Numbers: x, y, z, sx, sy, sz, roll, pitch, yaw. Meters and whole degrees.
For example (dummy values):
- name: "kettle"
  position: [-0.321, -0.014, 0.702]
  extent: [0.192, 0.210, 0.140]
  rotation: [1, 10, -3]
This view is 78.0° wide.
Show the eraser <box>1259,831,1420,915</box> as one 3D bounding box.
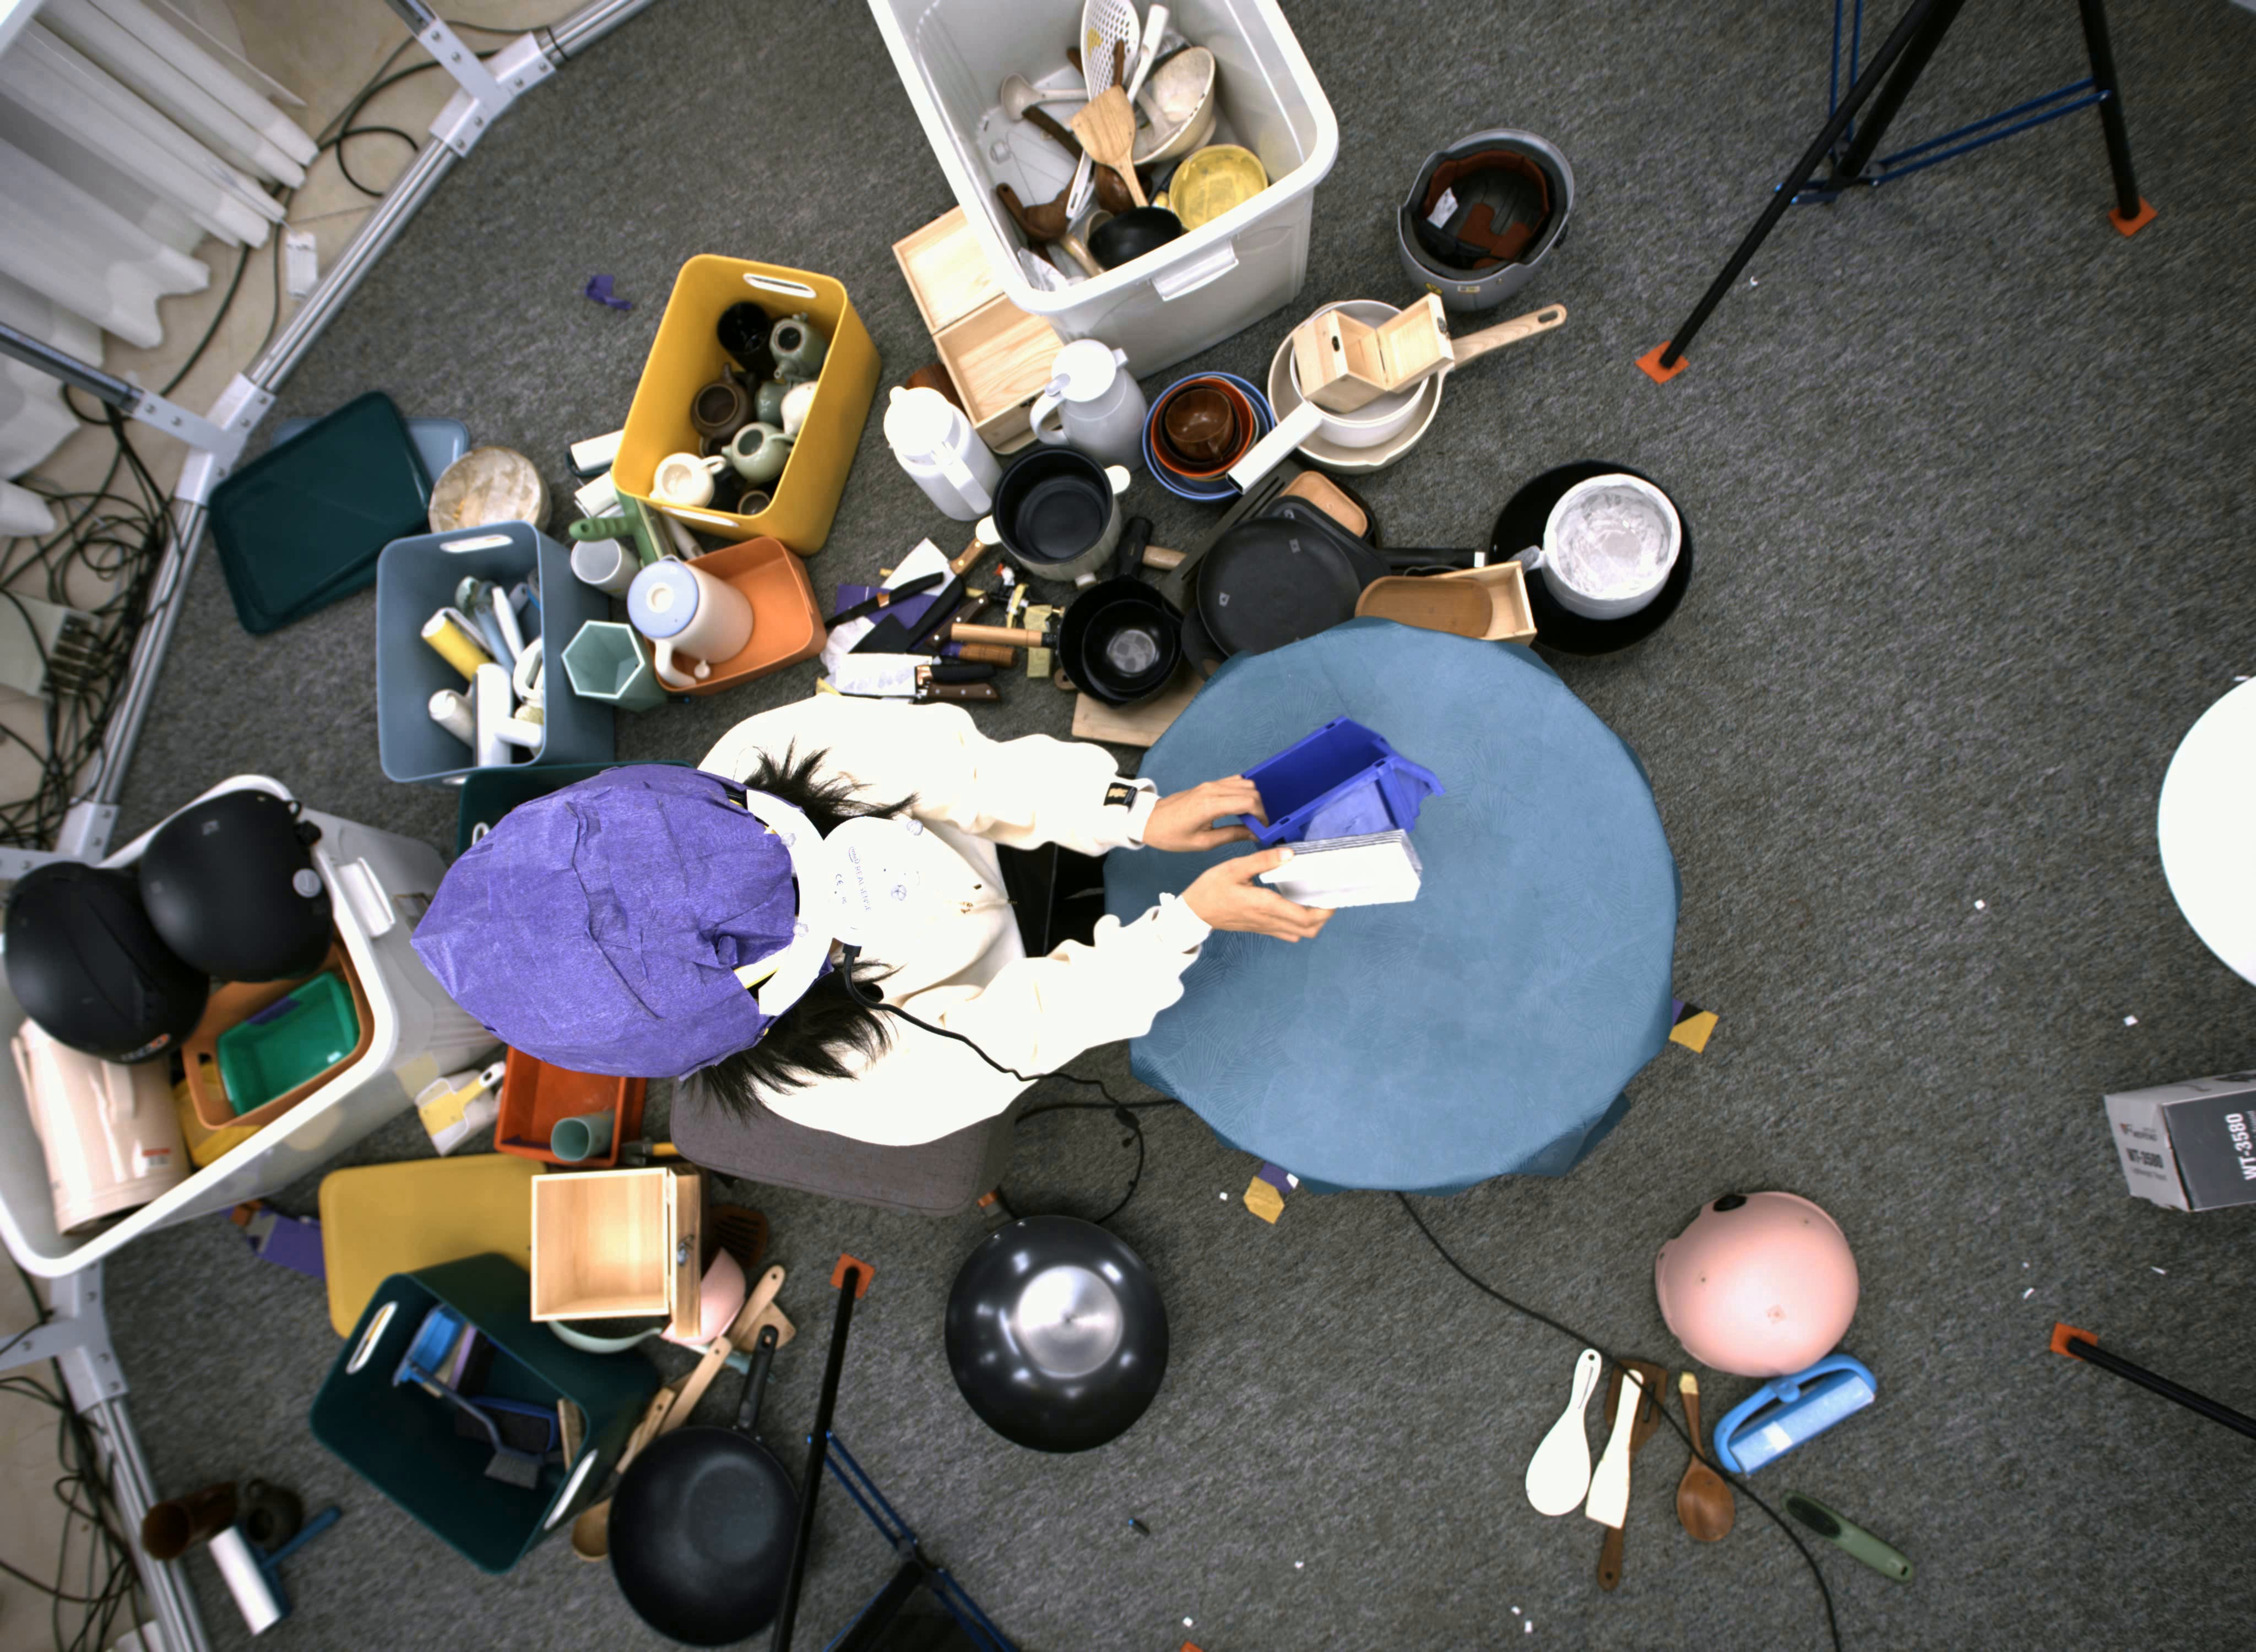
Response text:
- name: "eraser"
  position: [0.188, 0.041, 1.231]
  extent: [0.136, 0.050, 0.045]
  rotation: [-12, 39, 38]

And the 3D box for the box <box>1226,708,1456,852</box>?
- name: "box"
  position: [0.204, -0.036, 1.328]
  extent: [0.179, 0.122, 0.083]
  rotation: [-32, 121, 0]
